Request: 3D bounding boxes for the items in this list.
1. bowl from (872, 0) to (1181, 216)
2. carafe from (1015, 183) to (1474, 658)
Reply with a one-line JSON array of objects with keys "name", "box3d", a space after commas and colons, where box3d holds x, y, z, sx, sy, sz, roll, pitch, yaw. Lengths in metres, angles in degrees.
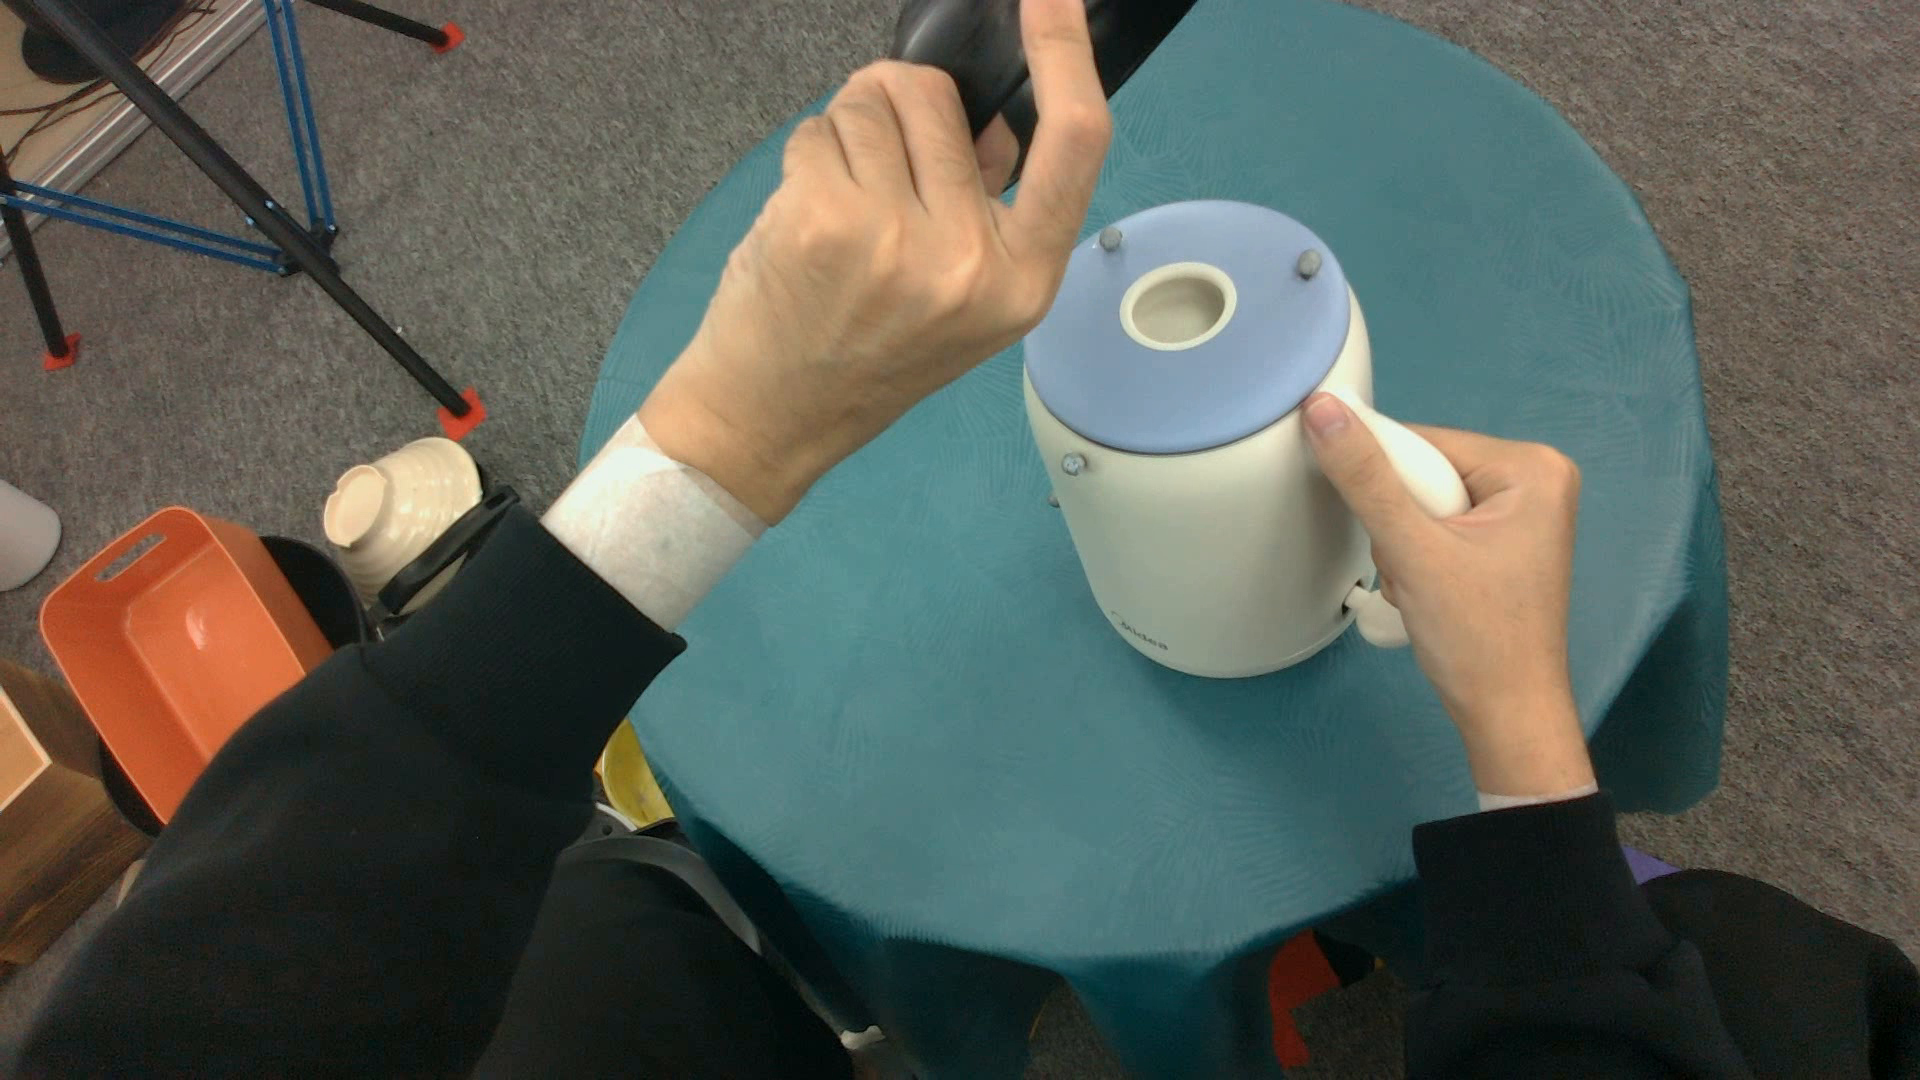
[{"name": "bowl", "box3d": [0.021, -0.164, 0.422, 0.140, 0.140, 0.050, -41, 93, -8]}, {"name": "carafe", "box3d": [0.117, -0.033, 0.559, 0.191, 0.182, 0.132, 30, 72, 29]}]
